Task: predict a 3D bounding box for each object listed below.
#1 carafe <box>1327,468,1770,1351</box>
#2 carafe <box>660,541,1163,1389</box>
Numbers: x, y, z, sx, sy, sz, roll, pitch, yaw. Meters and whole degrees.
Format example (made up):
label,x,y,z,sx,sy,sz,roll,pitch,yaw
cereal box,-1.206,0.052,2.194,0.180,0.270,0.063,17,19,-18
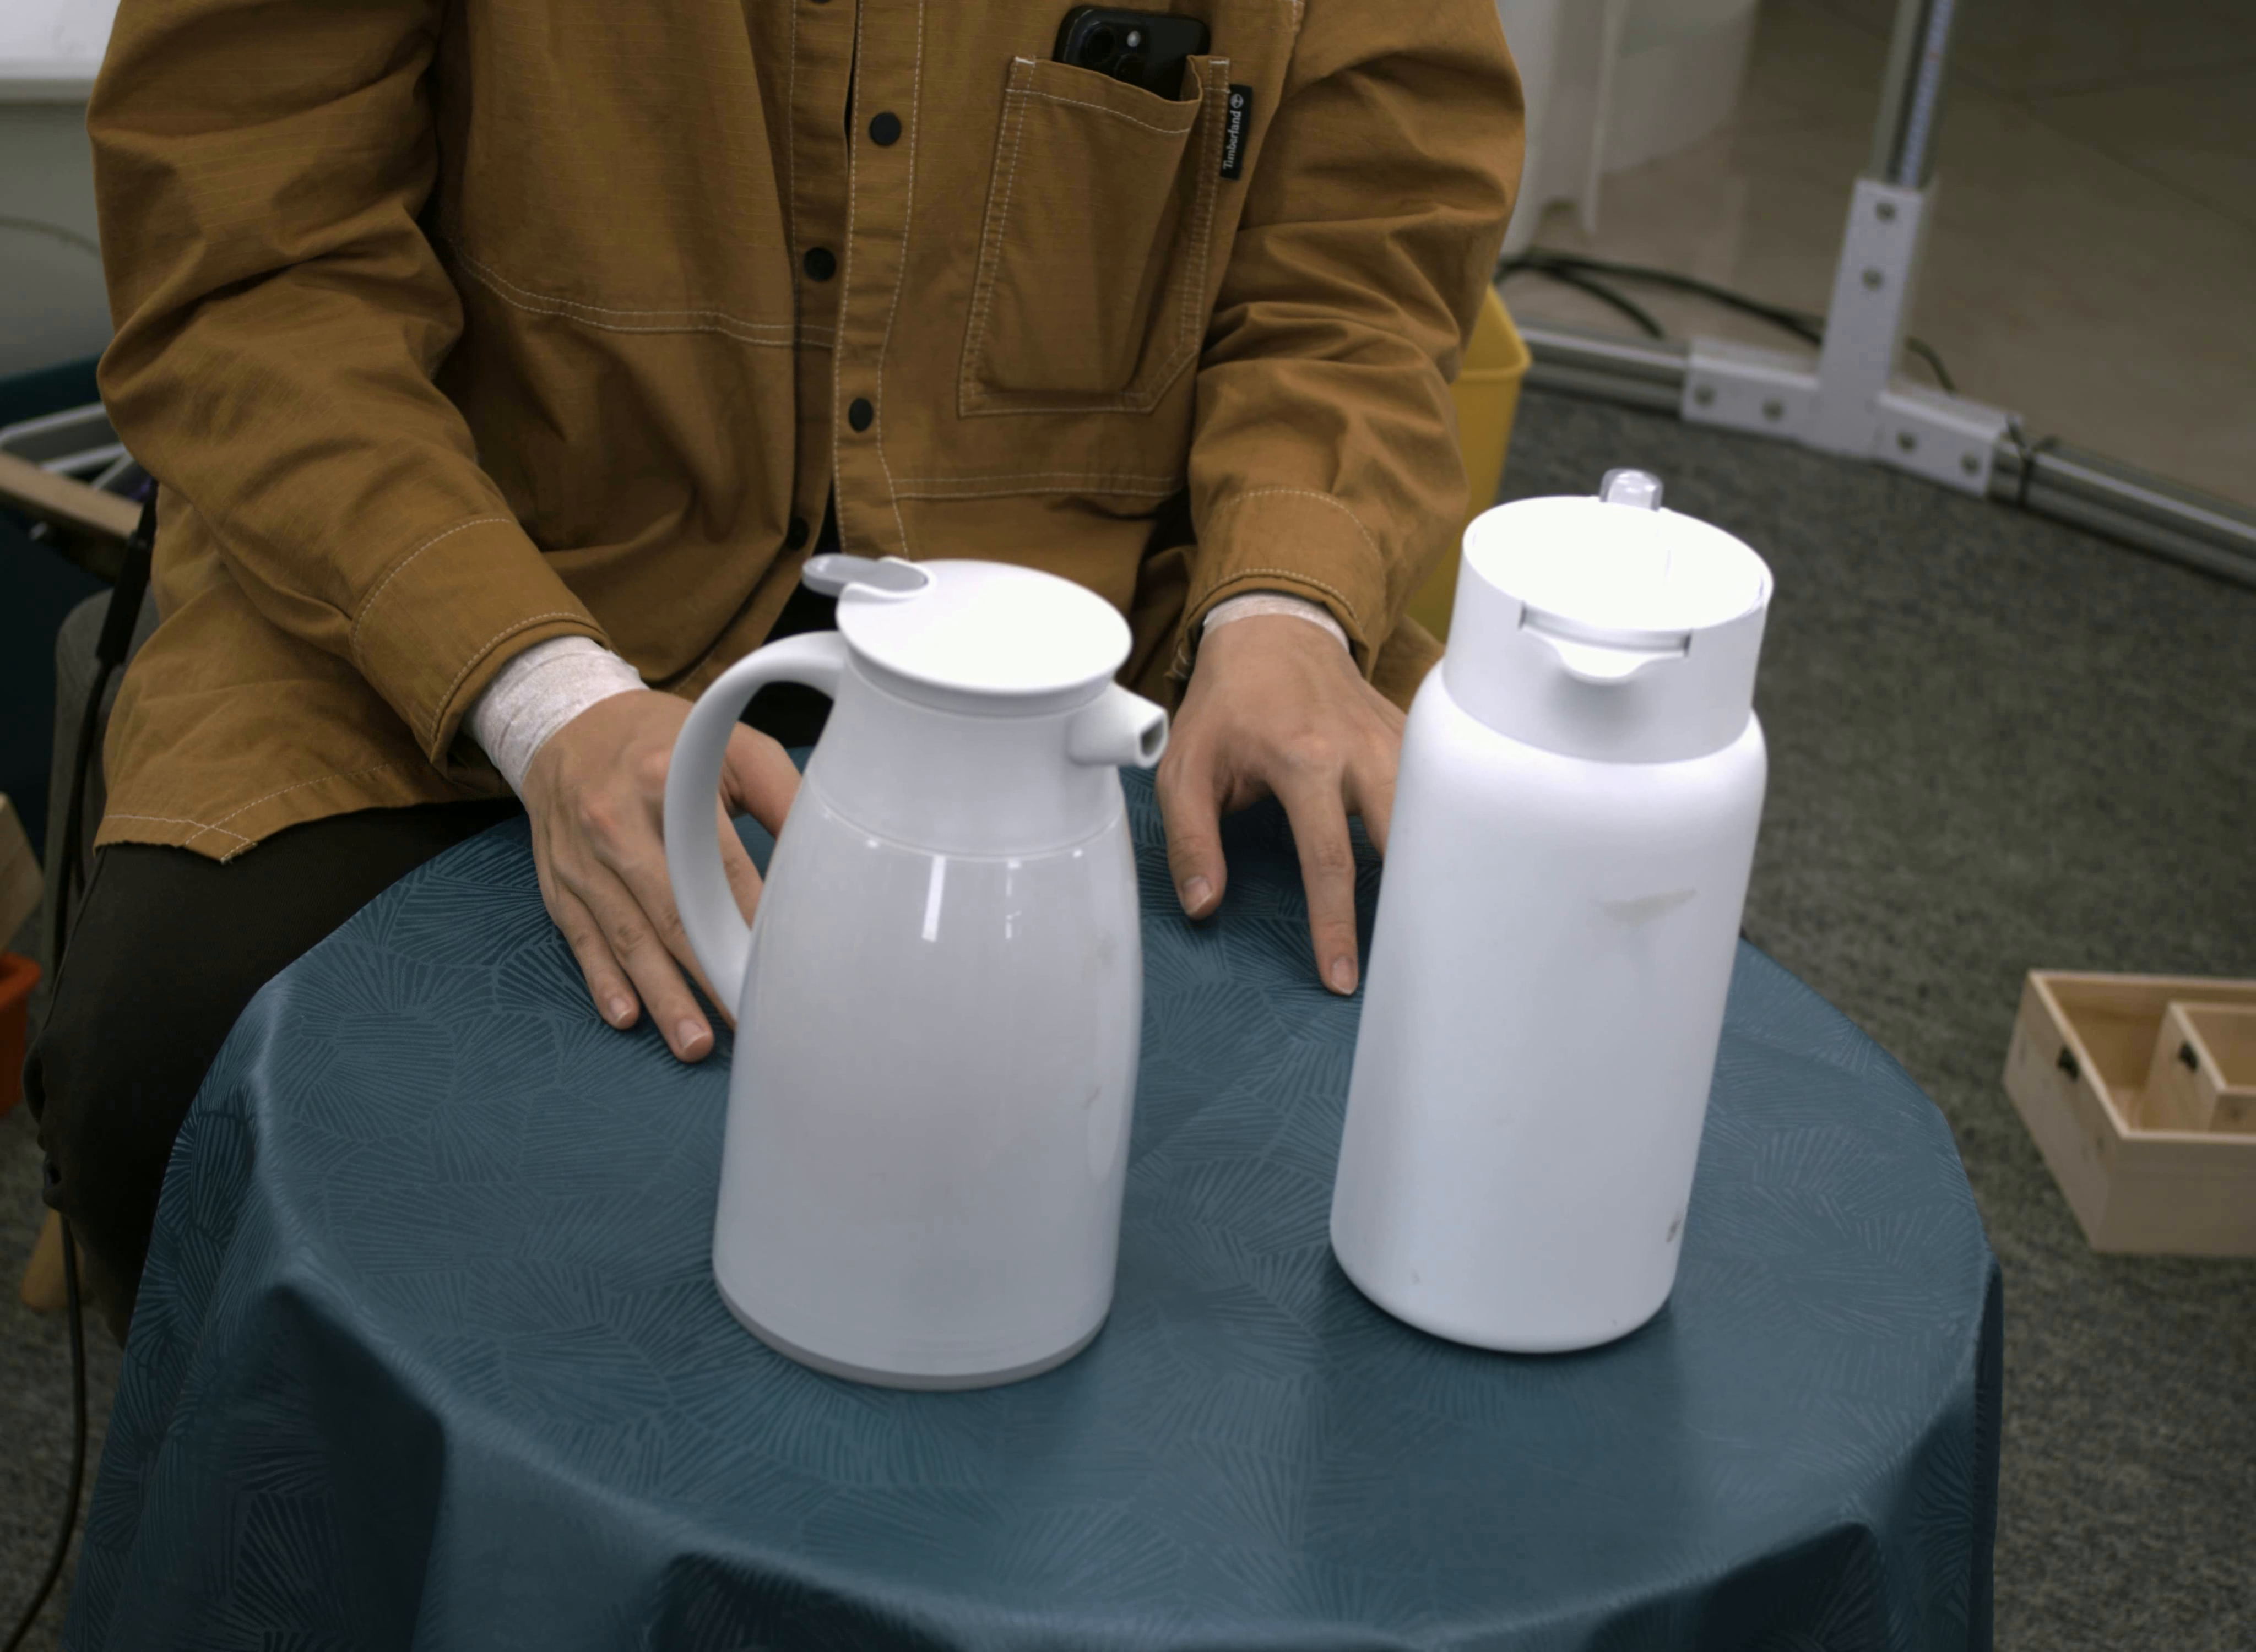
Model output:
label,x,y,z,sx,sy,sz,roll,pitch,yaw
carafe,0.139,0.023,1.740,0.123,0.268,0.173,7,26,6
carafe,-0.076,0.034,1.692,0.168,0.248,0.132,18,28,22
